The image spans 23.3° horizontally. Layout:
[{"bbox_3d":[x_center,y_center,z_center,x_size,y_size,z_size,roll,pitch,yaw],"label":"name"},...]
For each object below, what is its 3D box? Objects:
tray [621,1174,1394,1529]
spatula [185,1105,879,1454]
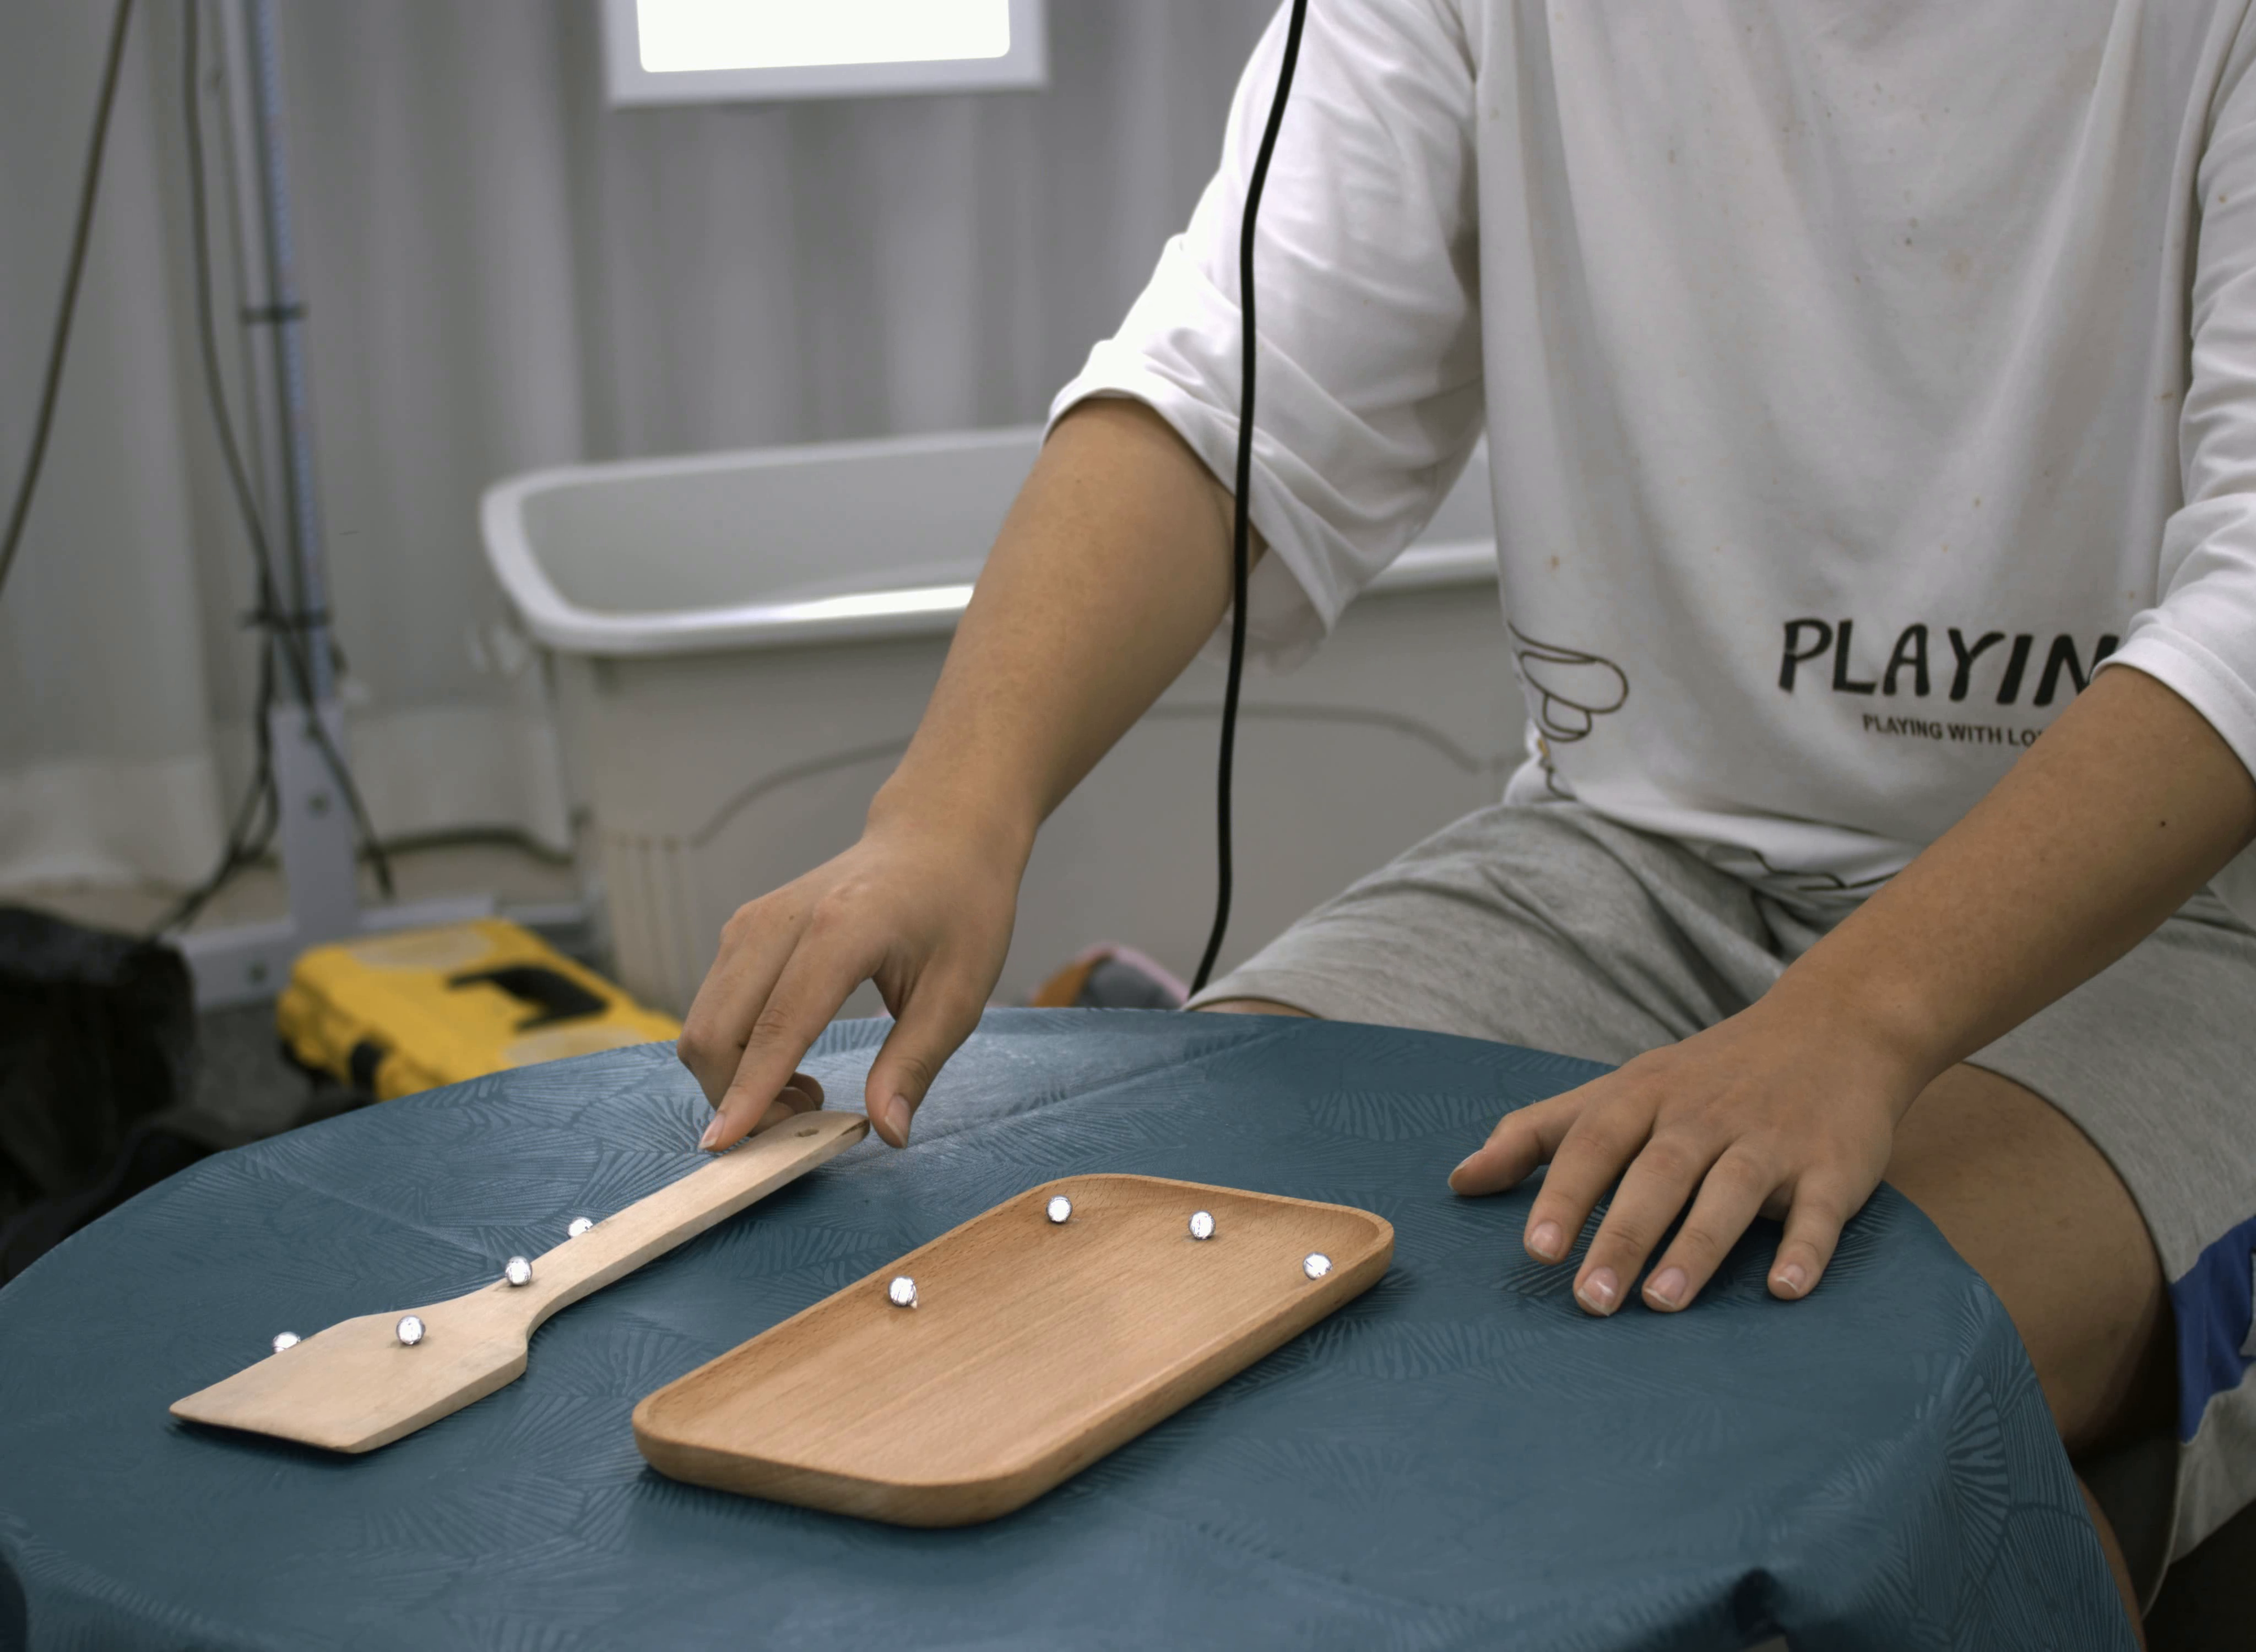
[{"bbox_3d":[-0.030,0.148,1.567,0.131,0.023,0.251,4,16,33],"label":"tray"},{"bbox_3d":[-0.166,0.133,1.652,0.072,0.010,0.293,6,19,31],"label":"spatula"}]
